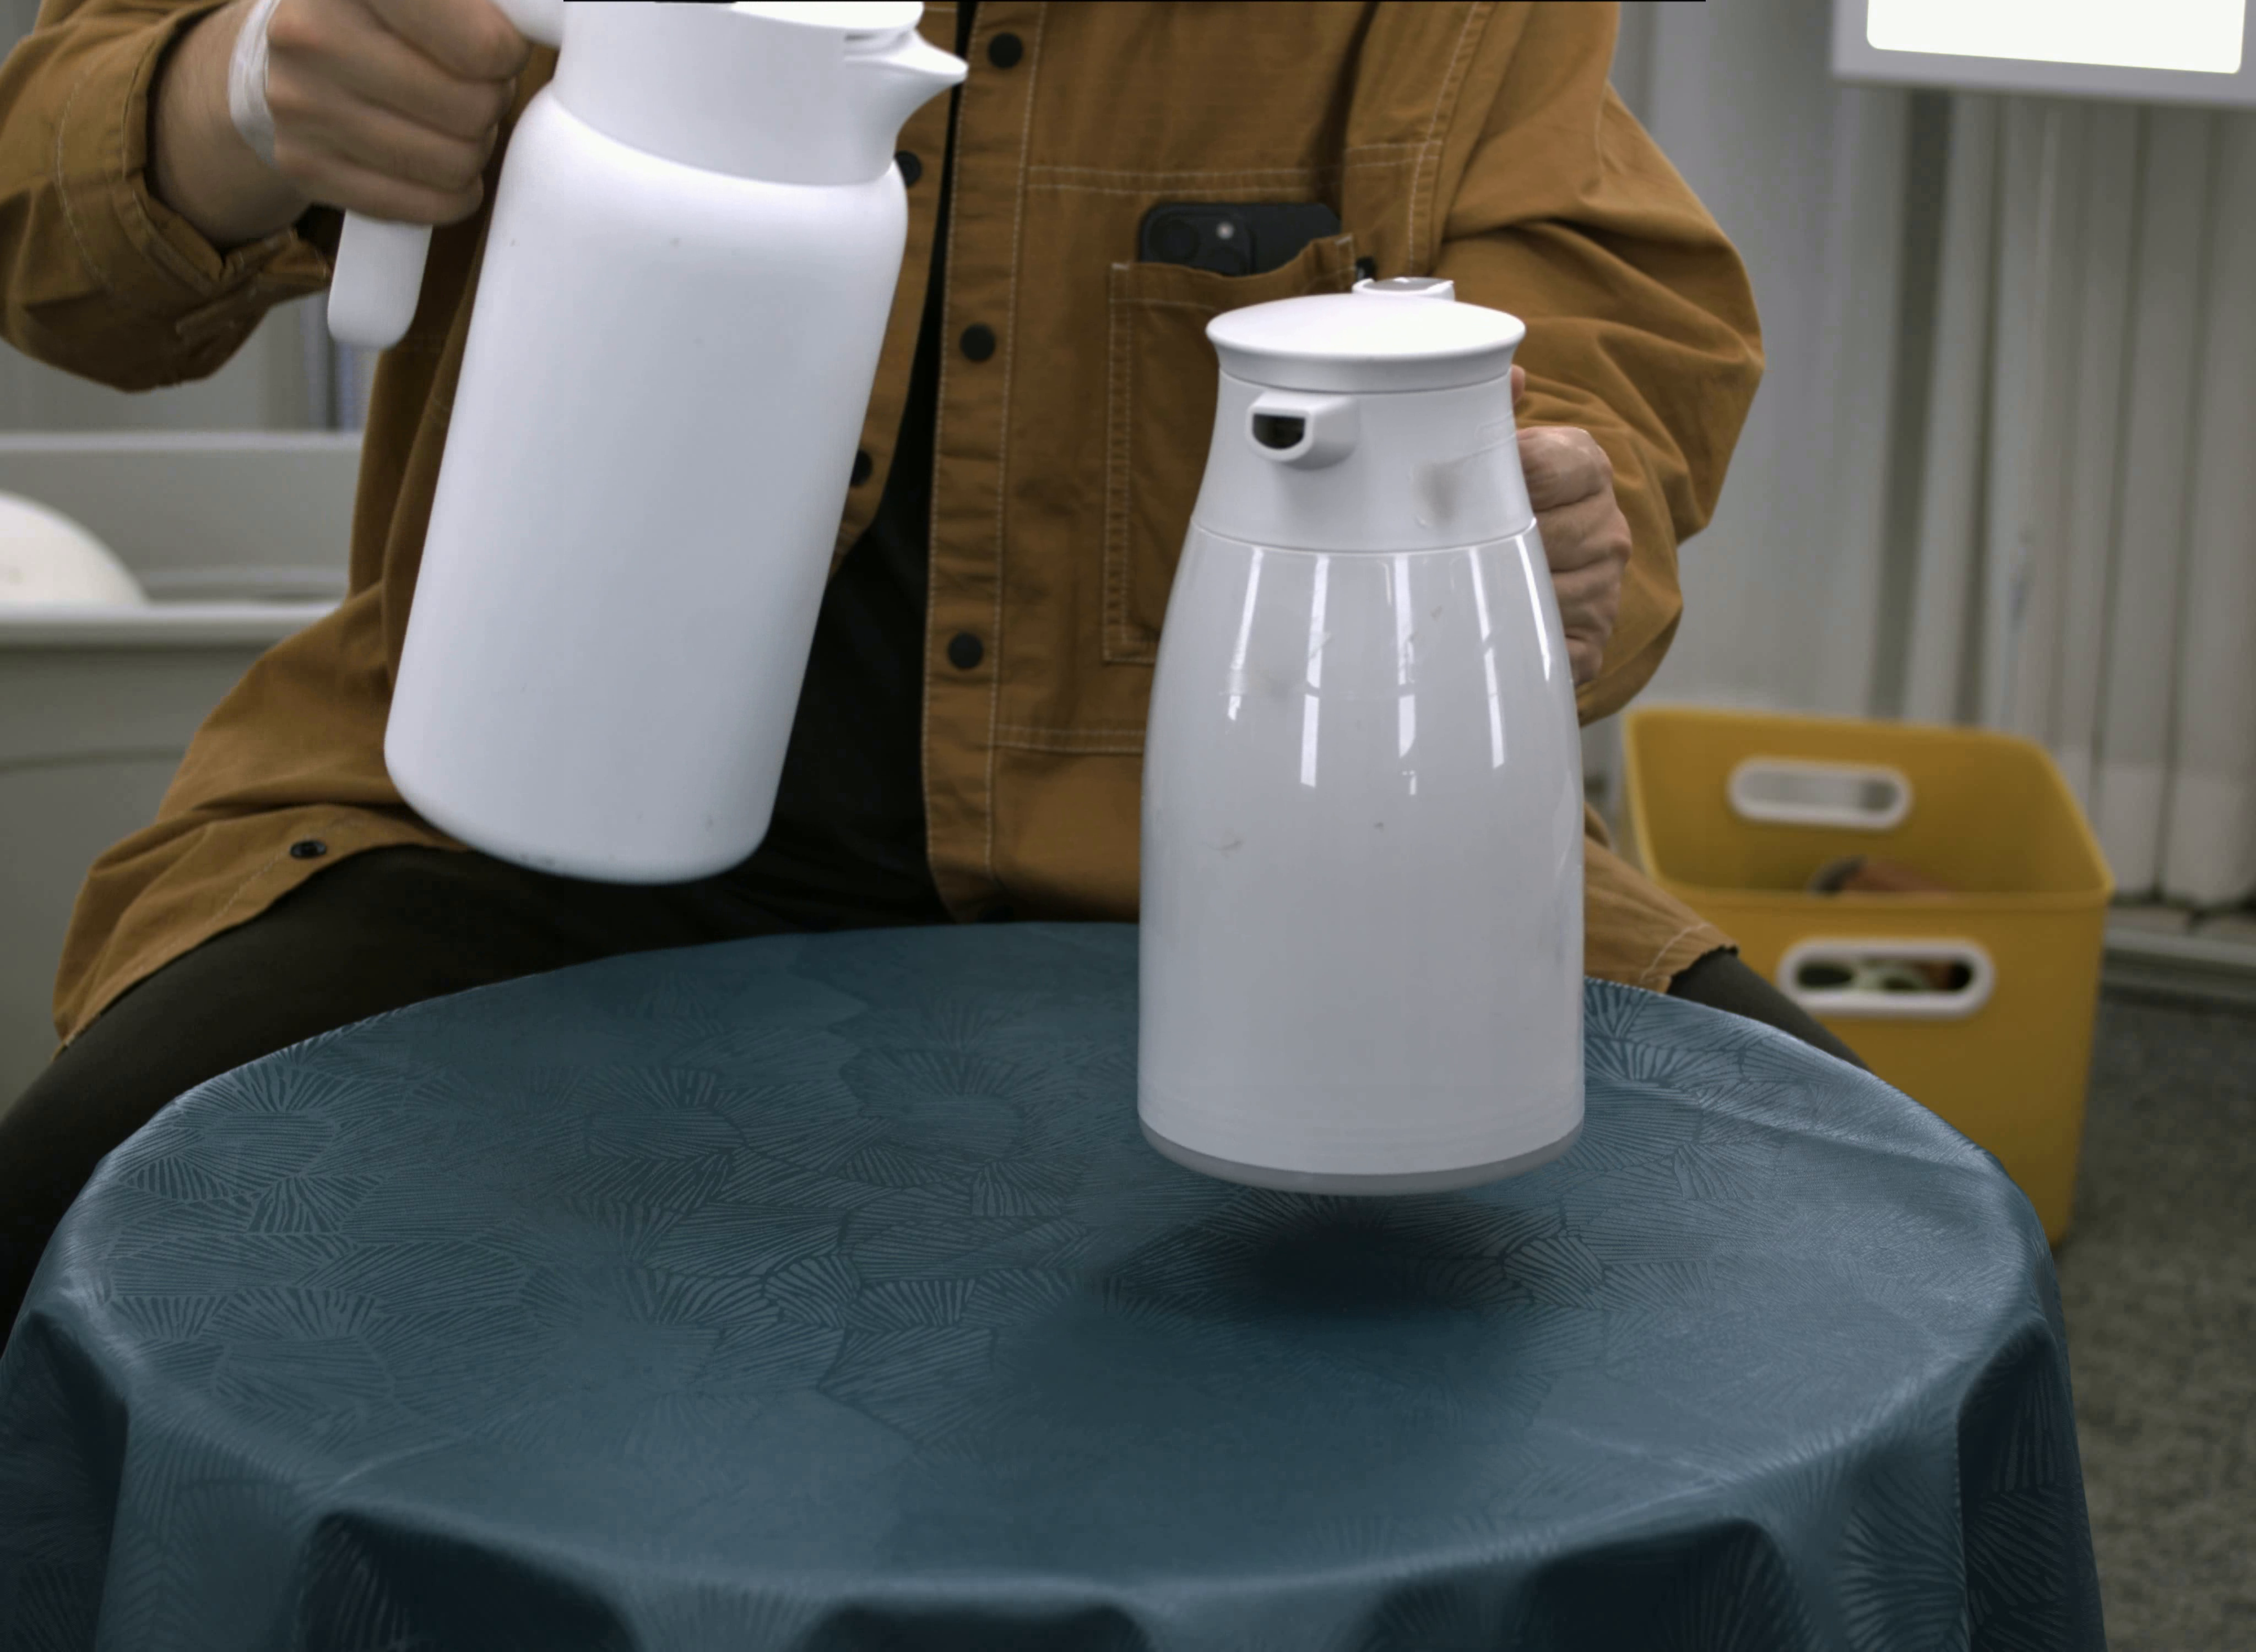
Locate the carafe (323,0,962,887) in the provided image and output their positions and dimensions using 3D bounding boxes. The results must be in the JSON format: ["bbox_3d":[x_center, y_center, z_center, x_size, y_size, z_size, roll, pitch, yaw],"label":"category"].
[{"bbox_3d":[-0.152,-0.129,1.520,0.171,0.271,0.124,19,25,14],"label":"carafe"}]

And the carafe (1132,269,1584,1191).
[{"bbox_3d":[0.075,-0.036,1.541,0.131,0.250,0.168,7,16,22],"label":"carafe"}]
